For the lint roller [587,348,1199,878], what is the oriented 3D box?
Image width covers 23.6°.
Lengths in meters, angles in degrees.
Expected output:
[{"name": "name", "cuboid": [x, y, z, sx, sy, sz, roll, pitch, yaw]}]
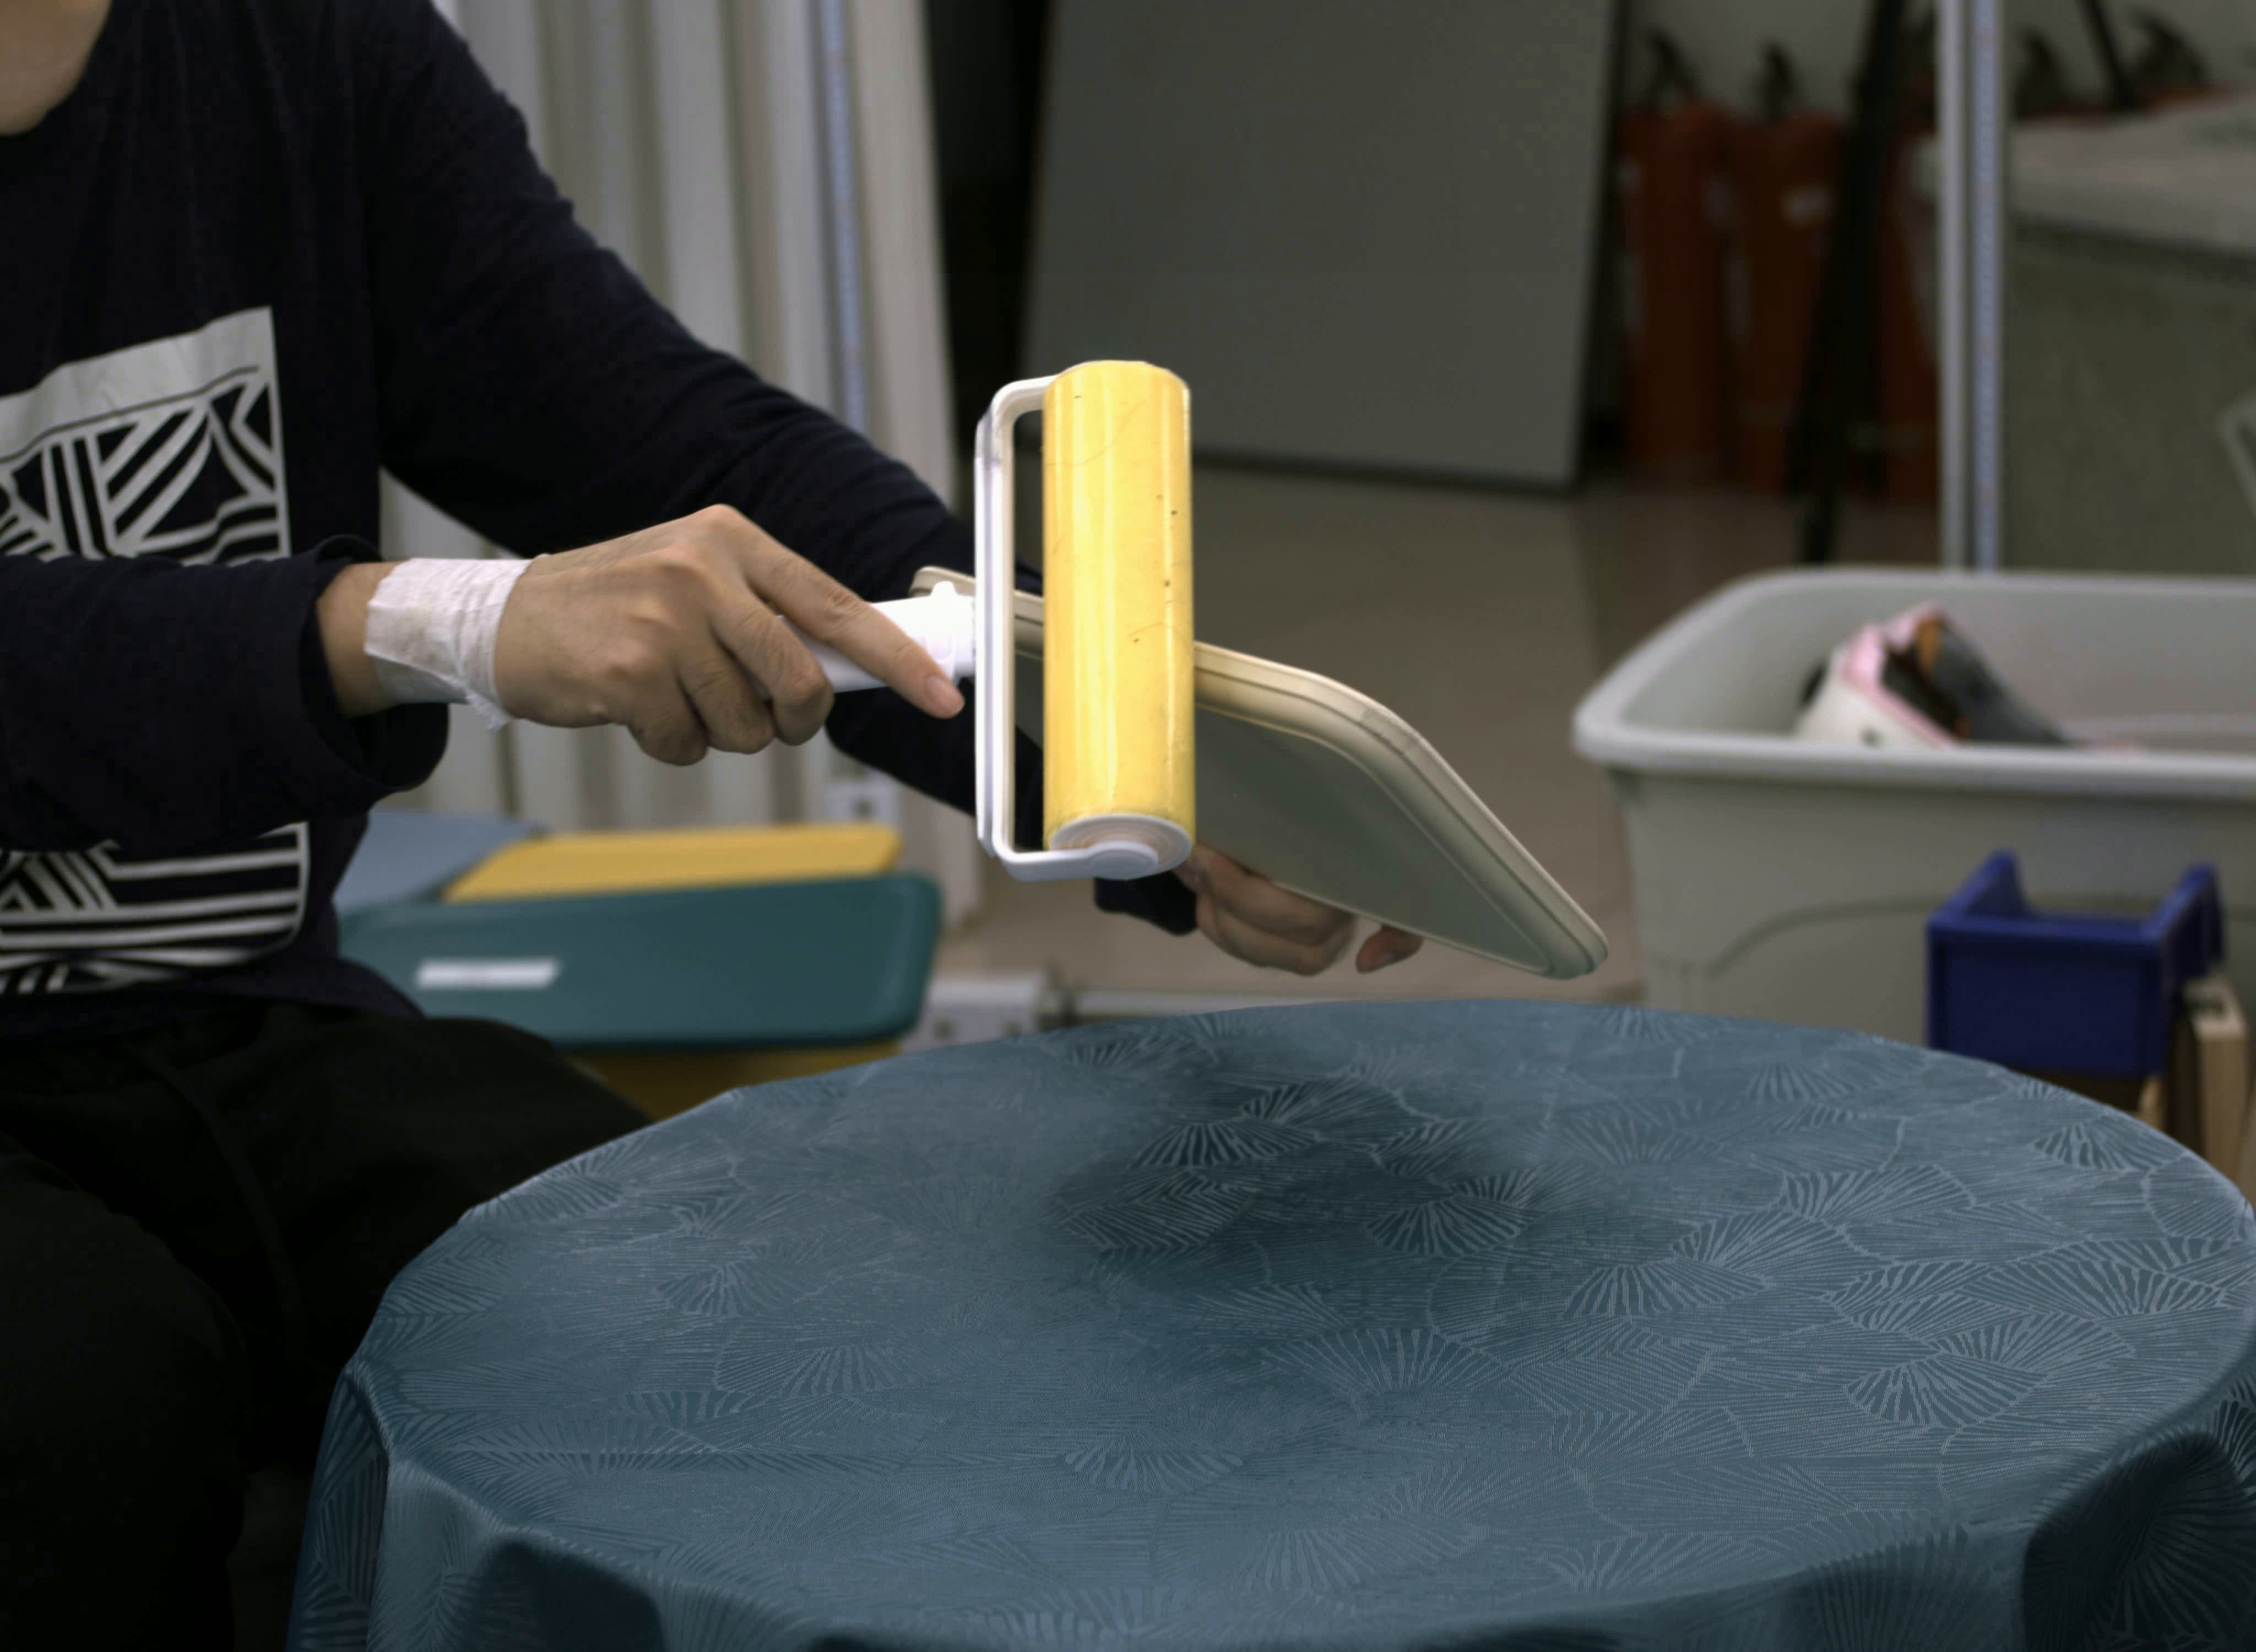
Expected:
[{"name": "lint roller", "cuboid": [-0.076, -0.062, 1.682, 0.190, 0.176, 0.051, -3, -27, 2]}]

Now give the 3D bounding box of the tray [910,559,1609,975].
[{"name": "tray", "cuboid": [0.039, -0.017, 1.763, 0.242, 0.169, 0.017, 17, 69, 47]}]
